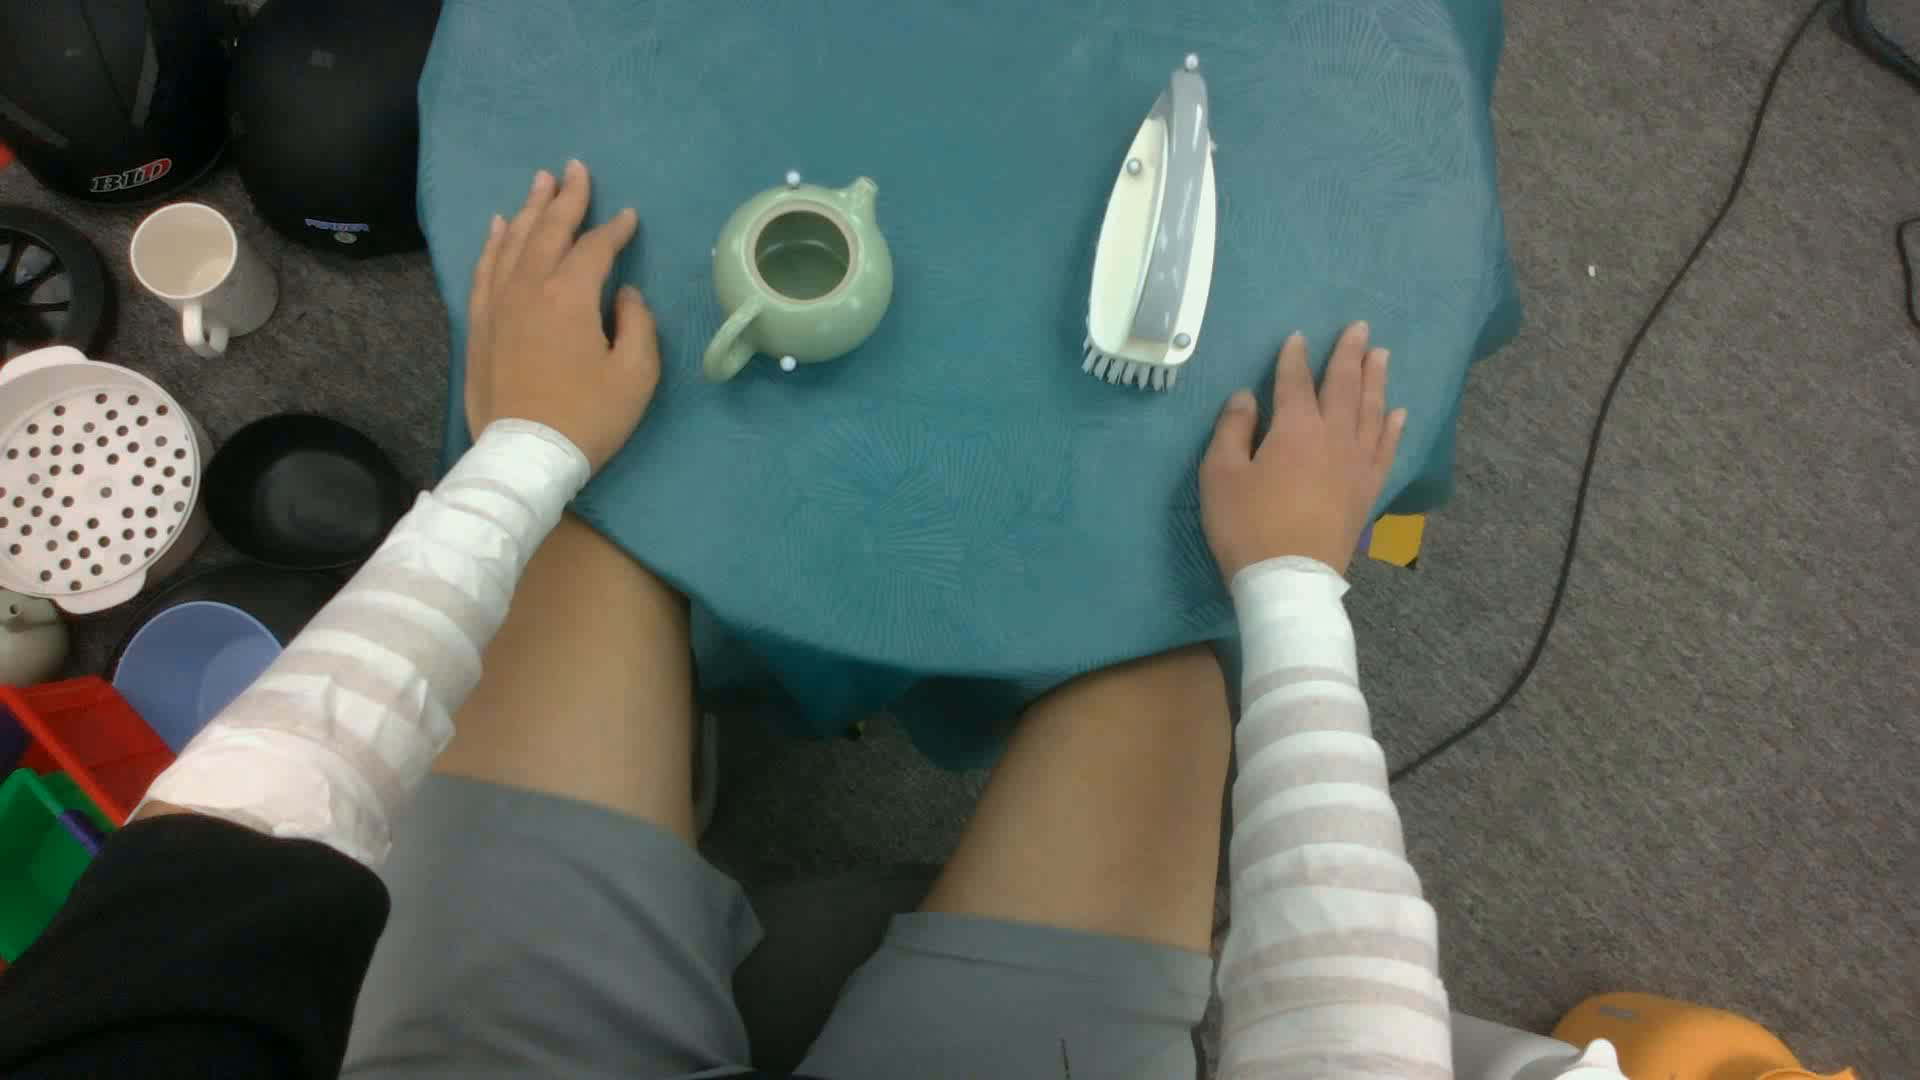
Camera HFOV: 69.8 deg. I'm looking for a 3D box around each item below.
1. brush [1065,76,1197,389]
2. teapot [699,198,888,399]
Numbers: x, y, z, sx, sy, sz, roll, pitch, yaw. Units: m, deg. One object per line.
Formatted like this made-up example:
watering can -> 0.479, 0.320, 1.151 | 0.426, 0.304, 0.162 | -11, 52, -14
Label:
brush -> 0.099, -0.177, 0.733 | 0.061, 0.094, 0.176 | 11, 75, -7
teapot -> -0.090, -0.122, 0.718 | 0.091, 0.061, 0.129 | 42, 77, 2
